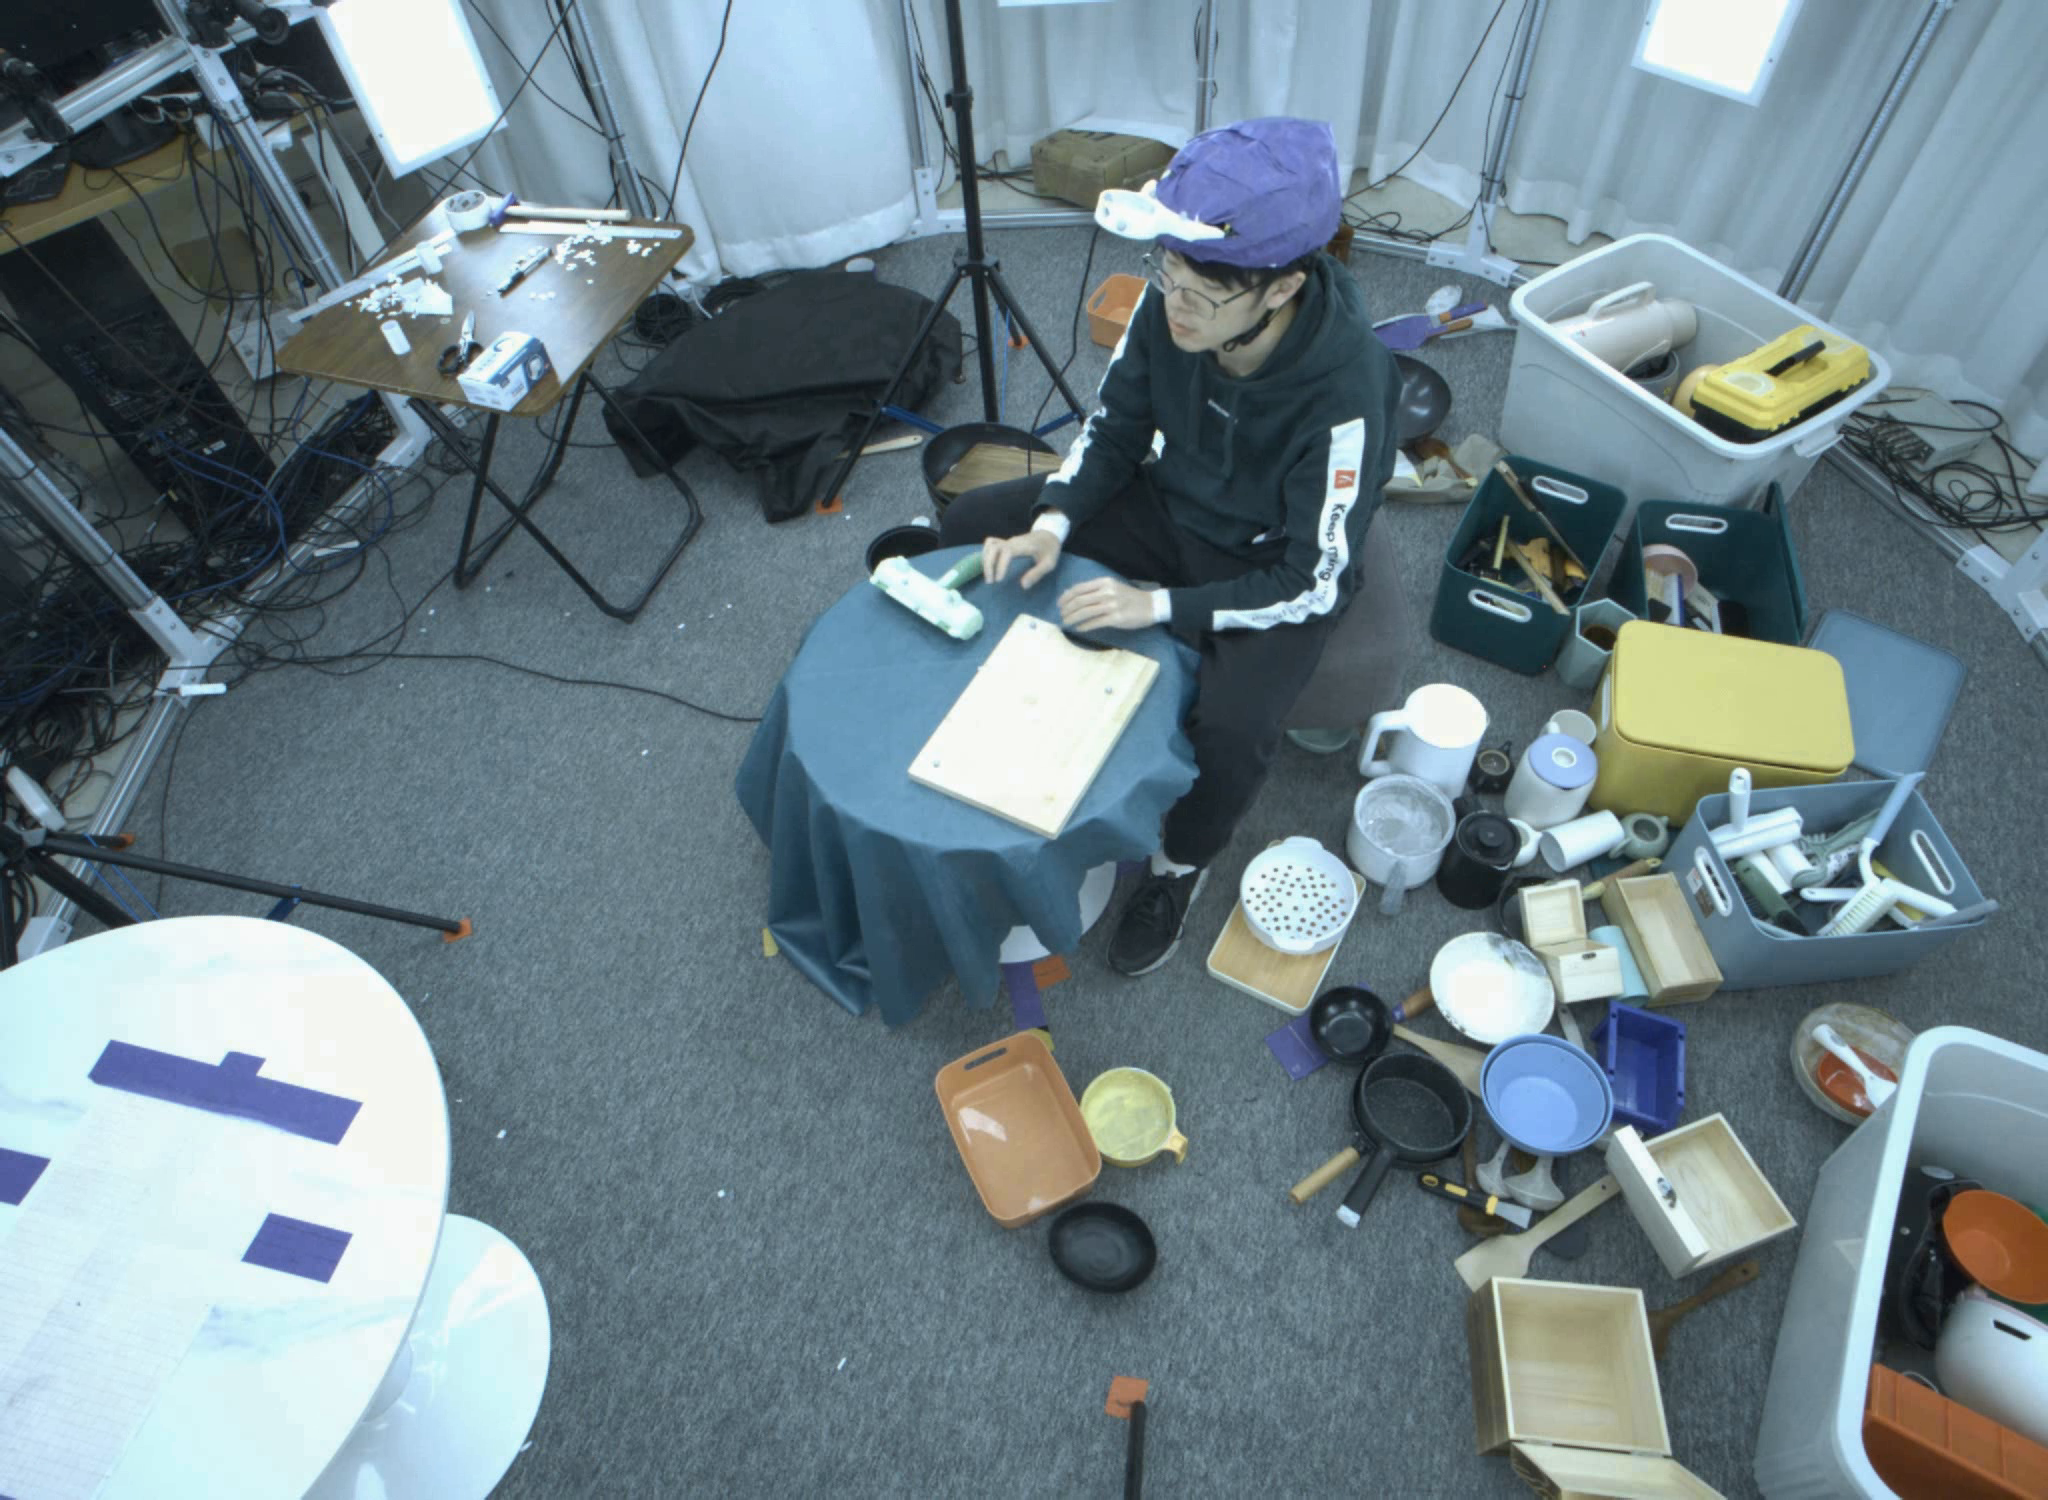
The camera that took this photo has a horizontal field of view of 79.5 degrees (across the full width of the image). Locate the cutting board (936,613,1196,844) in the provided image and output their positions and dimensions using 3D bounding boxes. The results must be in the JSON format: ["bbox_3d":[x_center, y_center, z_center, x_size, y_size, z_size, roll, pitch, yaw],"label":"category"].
[{"bbox_3d":[0.064,-0.042,1.801,0.247,0.024,0.349,24,59,18],"label":"cutting board"}]

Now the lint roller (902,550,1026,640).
[{"bbox_3d":[-0.066,-0.278,1.935,0.195,0.083,0.184,36,68,25],"label":"lint roller"}]
